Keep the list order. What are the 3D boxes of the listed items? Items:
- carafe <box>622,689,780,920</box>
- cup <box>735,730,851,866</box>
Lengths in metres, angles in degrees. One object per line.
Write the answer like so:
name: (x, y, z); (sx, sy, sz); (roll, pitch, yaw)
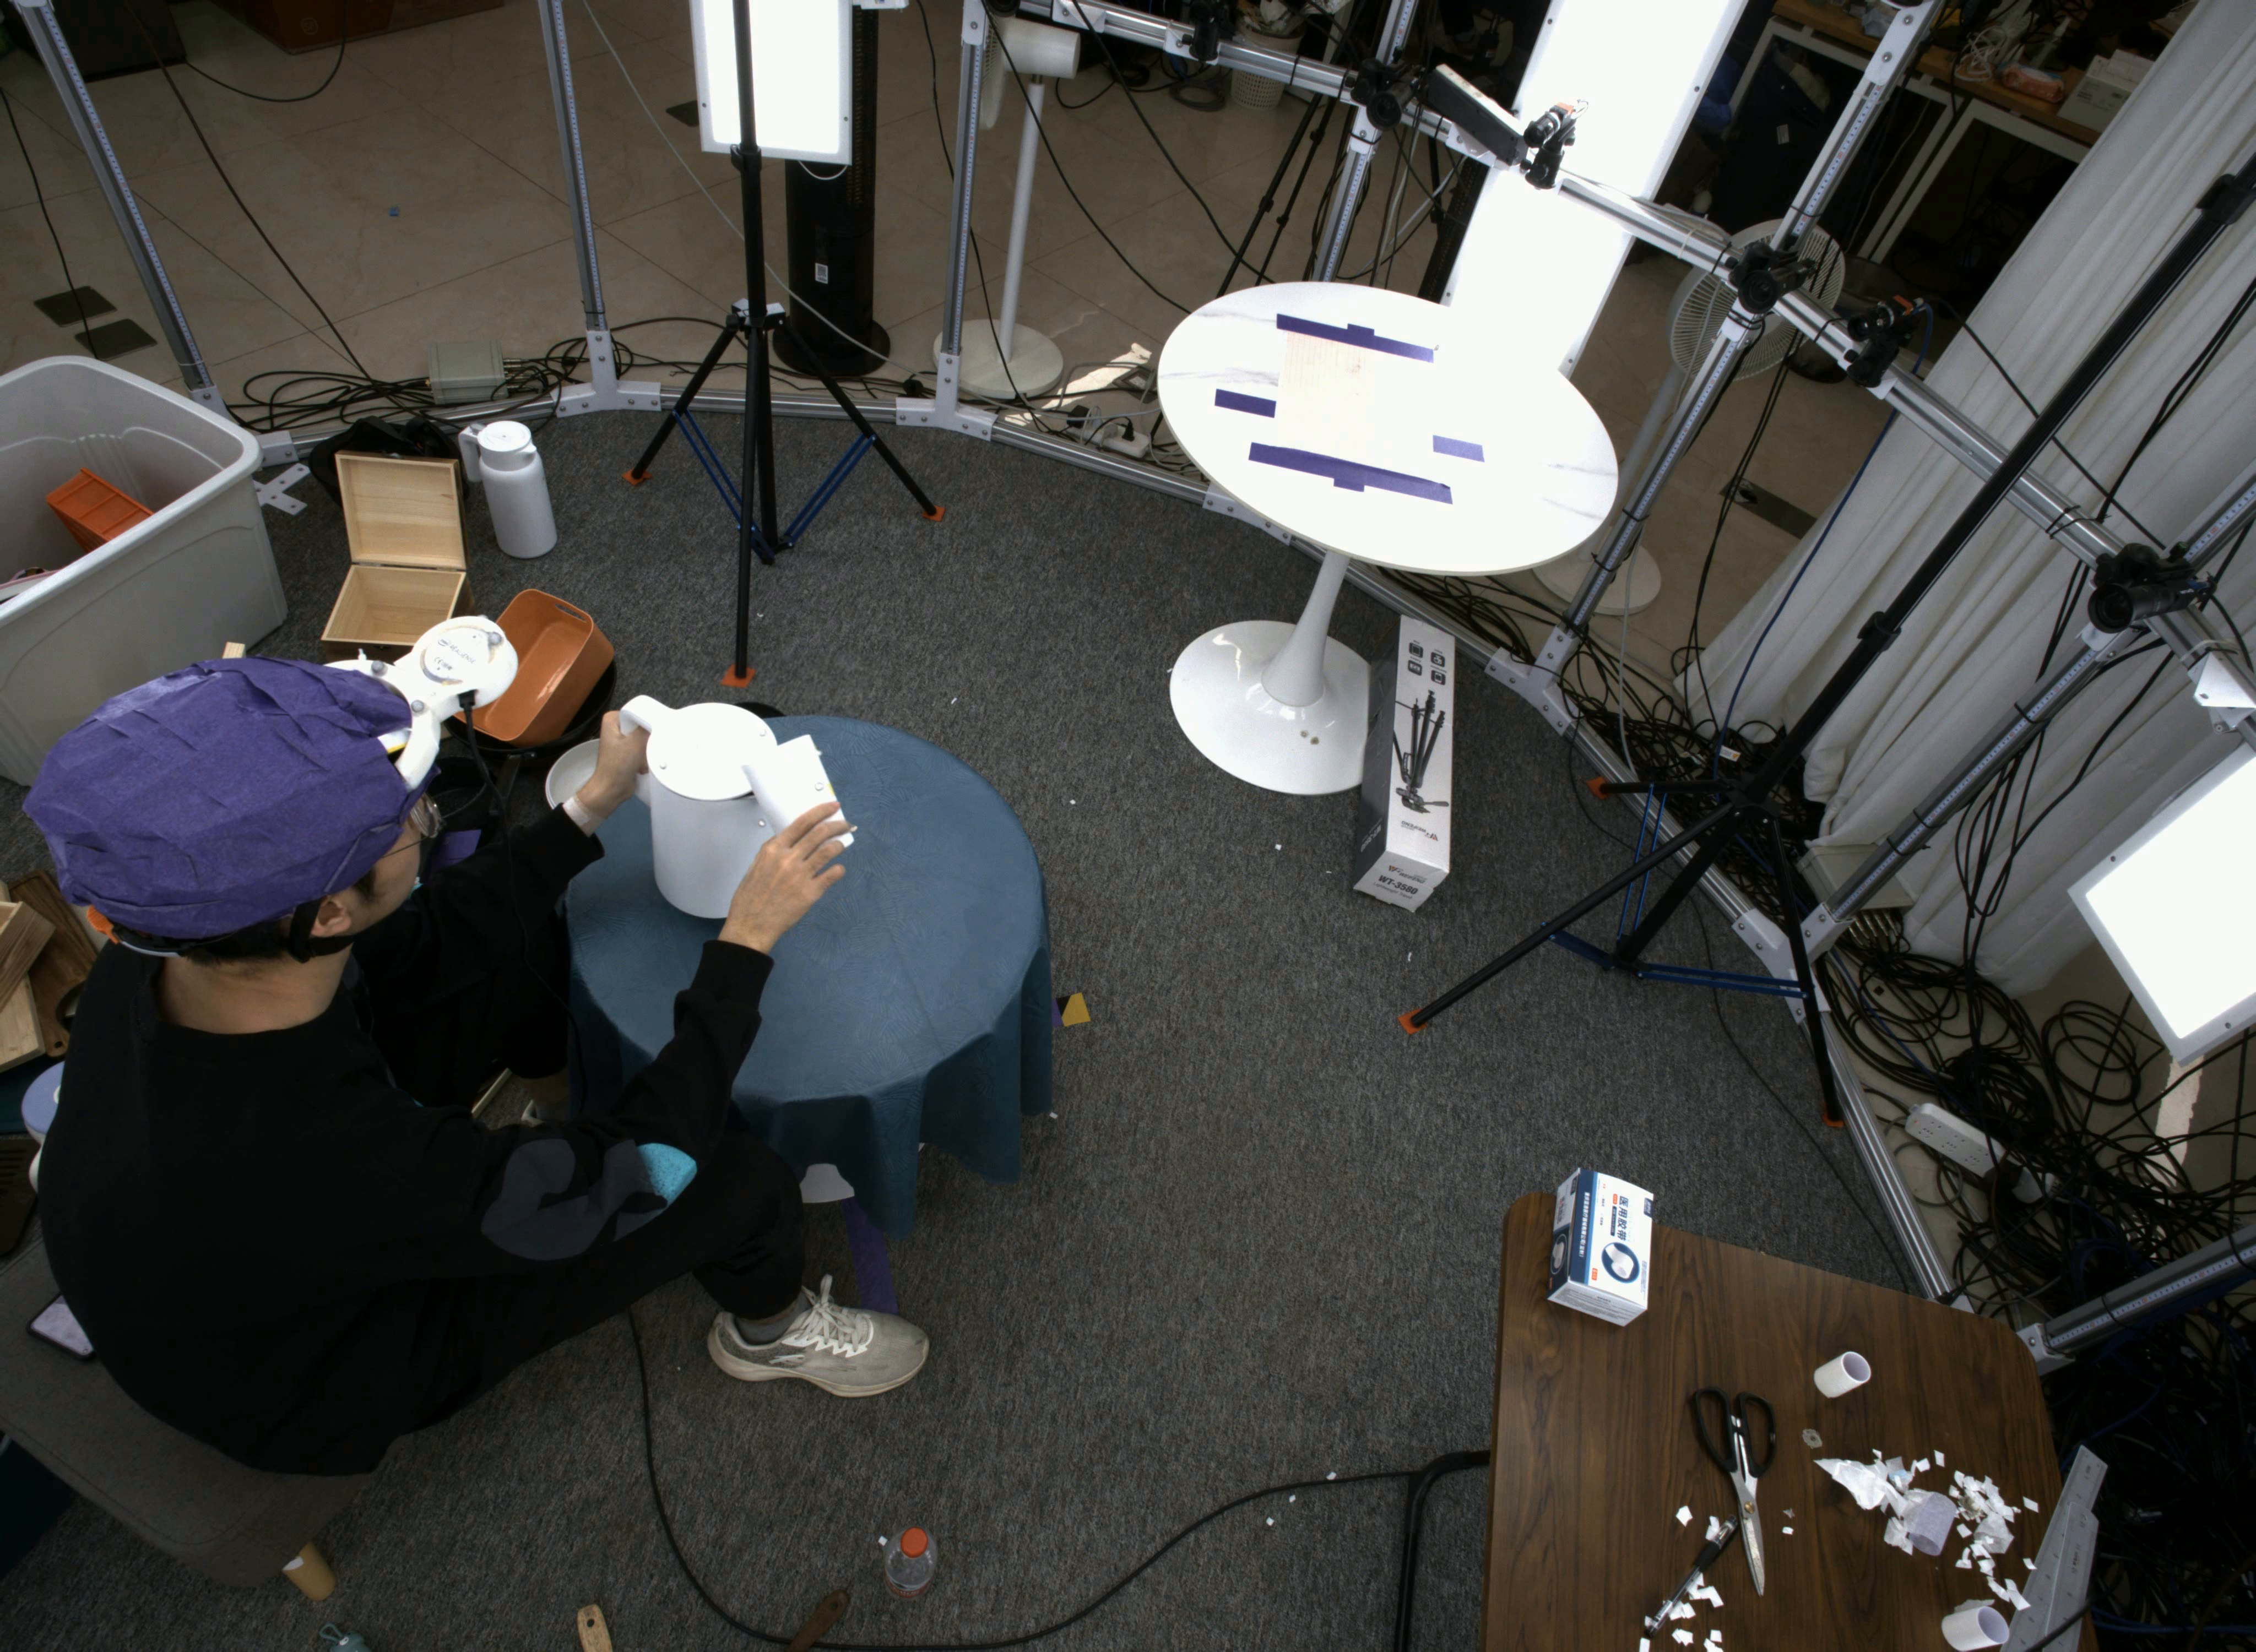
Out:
carafe: (-0.512, -0.035, 1.534); (0.210, 0.244, 0.152); (32, 50, 9)
cup: (-0.355, -0.029, 1.385); (0.082, 0.079, 0.128); (-32, 107, -31)
